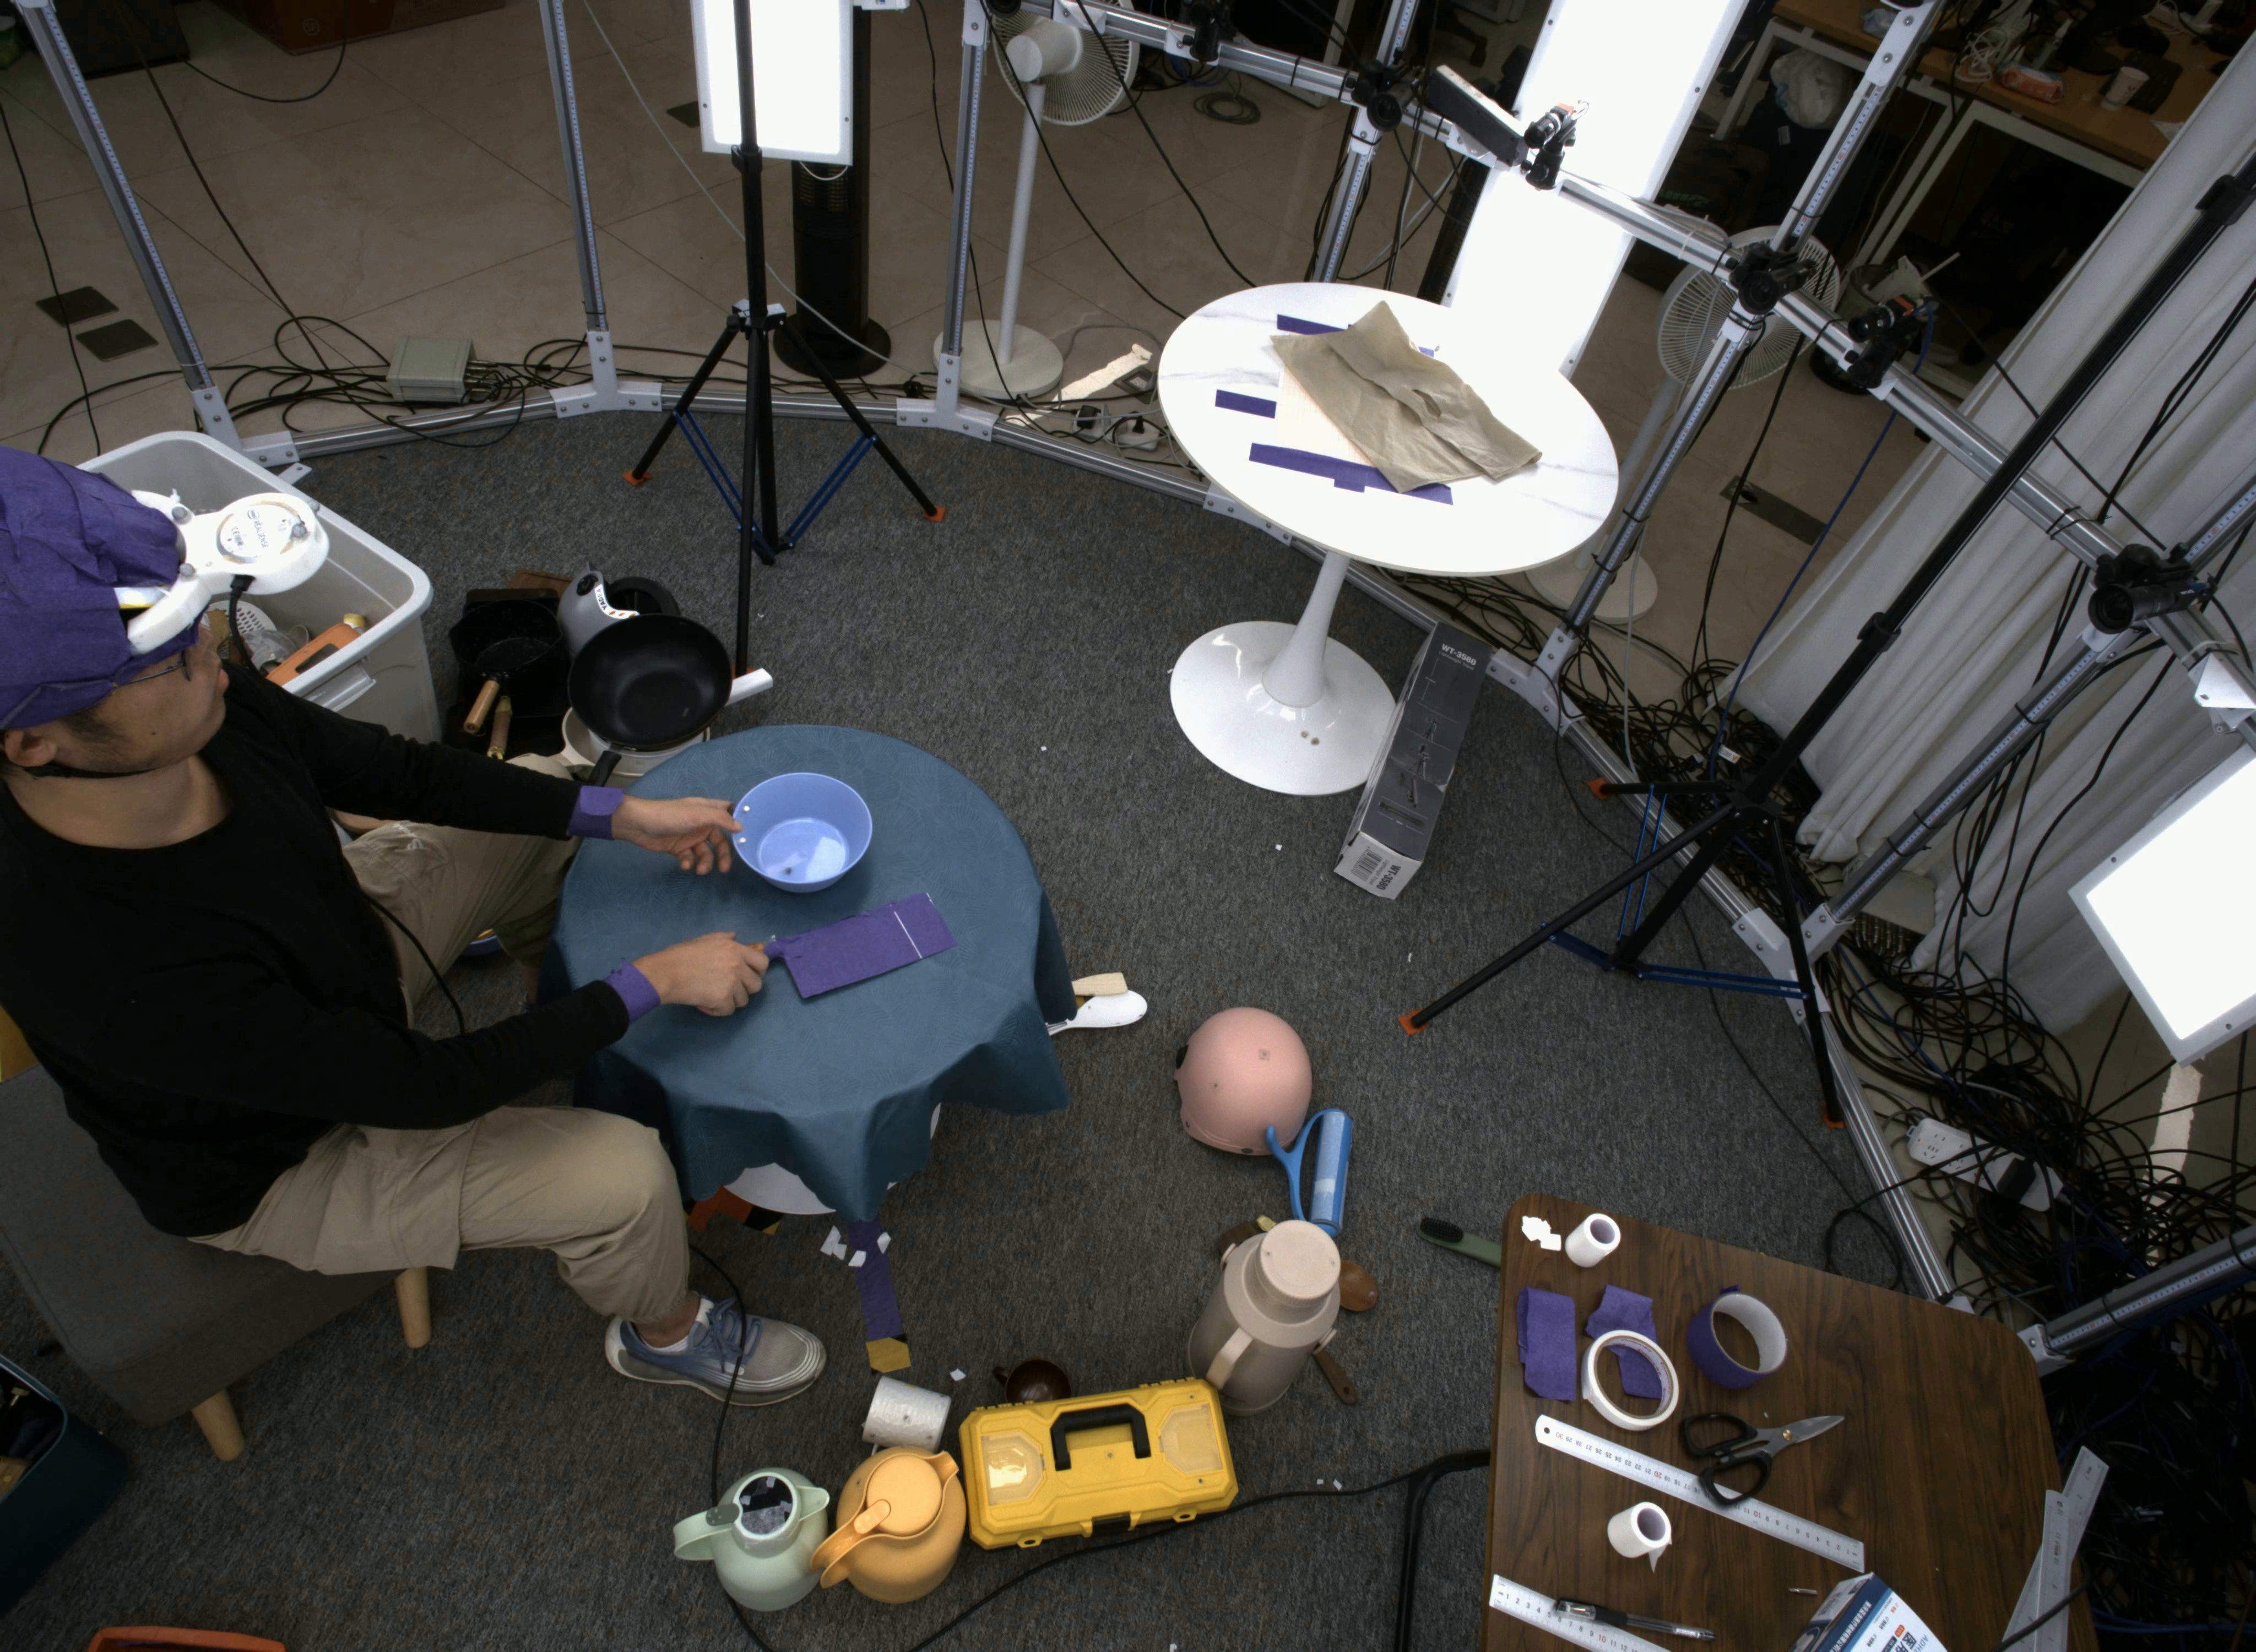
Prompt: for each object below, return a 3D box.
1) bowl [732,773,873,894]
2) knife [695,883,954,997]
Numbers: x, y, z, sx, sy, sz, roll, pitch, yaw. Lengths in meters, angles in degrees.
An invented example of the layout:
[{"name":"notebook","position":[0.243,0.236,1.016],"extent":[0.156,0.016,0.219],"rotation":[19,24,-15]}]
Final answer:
[{"name":"bowl","position":[-0.416,0.019,1.663],"extent":[0.175,0.072,0.173],"rotation":[7,52,-8]},{"name":"knife","position":[-0.368,0.155,1.603],"extent":[0.317,0.033,0.101],"rotation":[-20,61,-28]}]
